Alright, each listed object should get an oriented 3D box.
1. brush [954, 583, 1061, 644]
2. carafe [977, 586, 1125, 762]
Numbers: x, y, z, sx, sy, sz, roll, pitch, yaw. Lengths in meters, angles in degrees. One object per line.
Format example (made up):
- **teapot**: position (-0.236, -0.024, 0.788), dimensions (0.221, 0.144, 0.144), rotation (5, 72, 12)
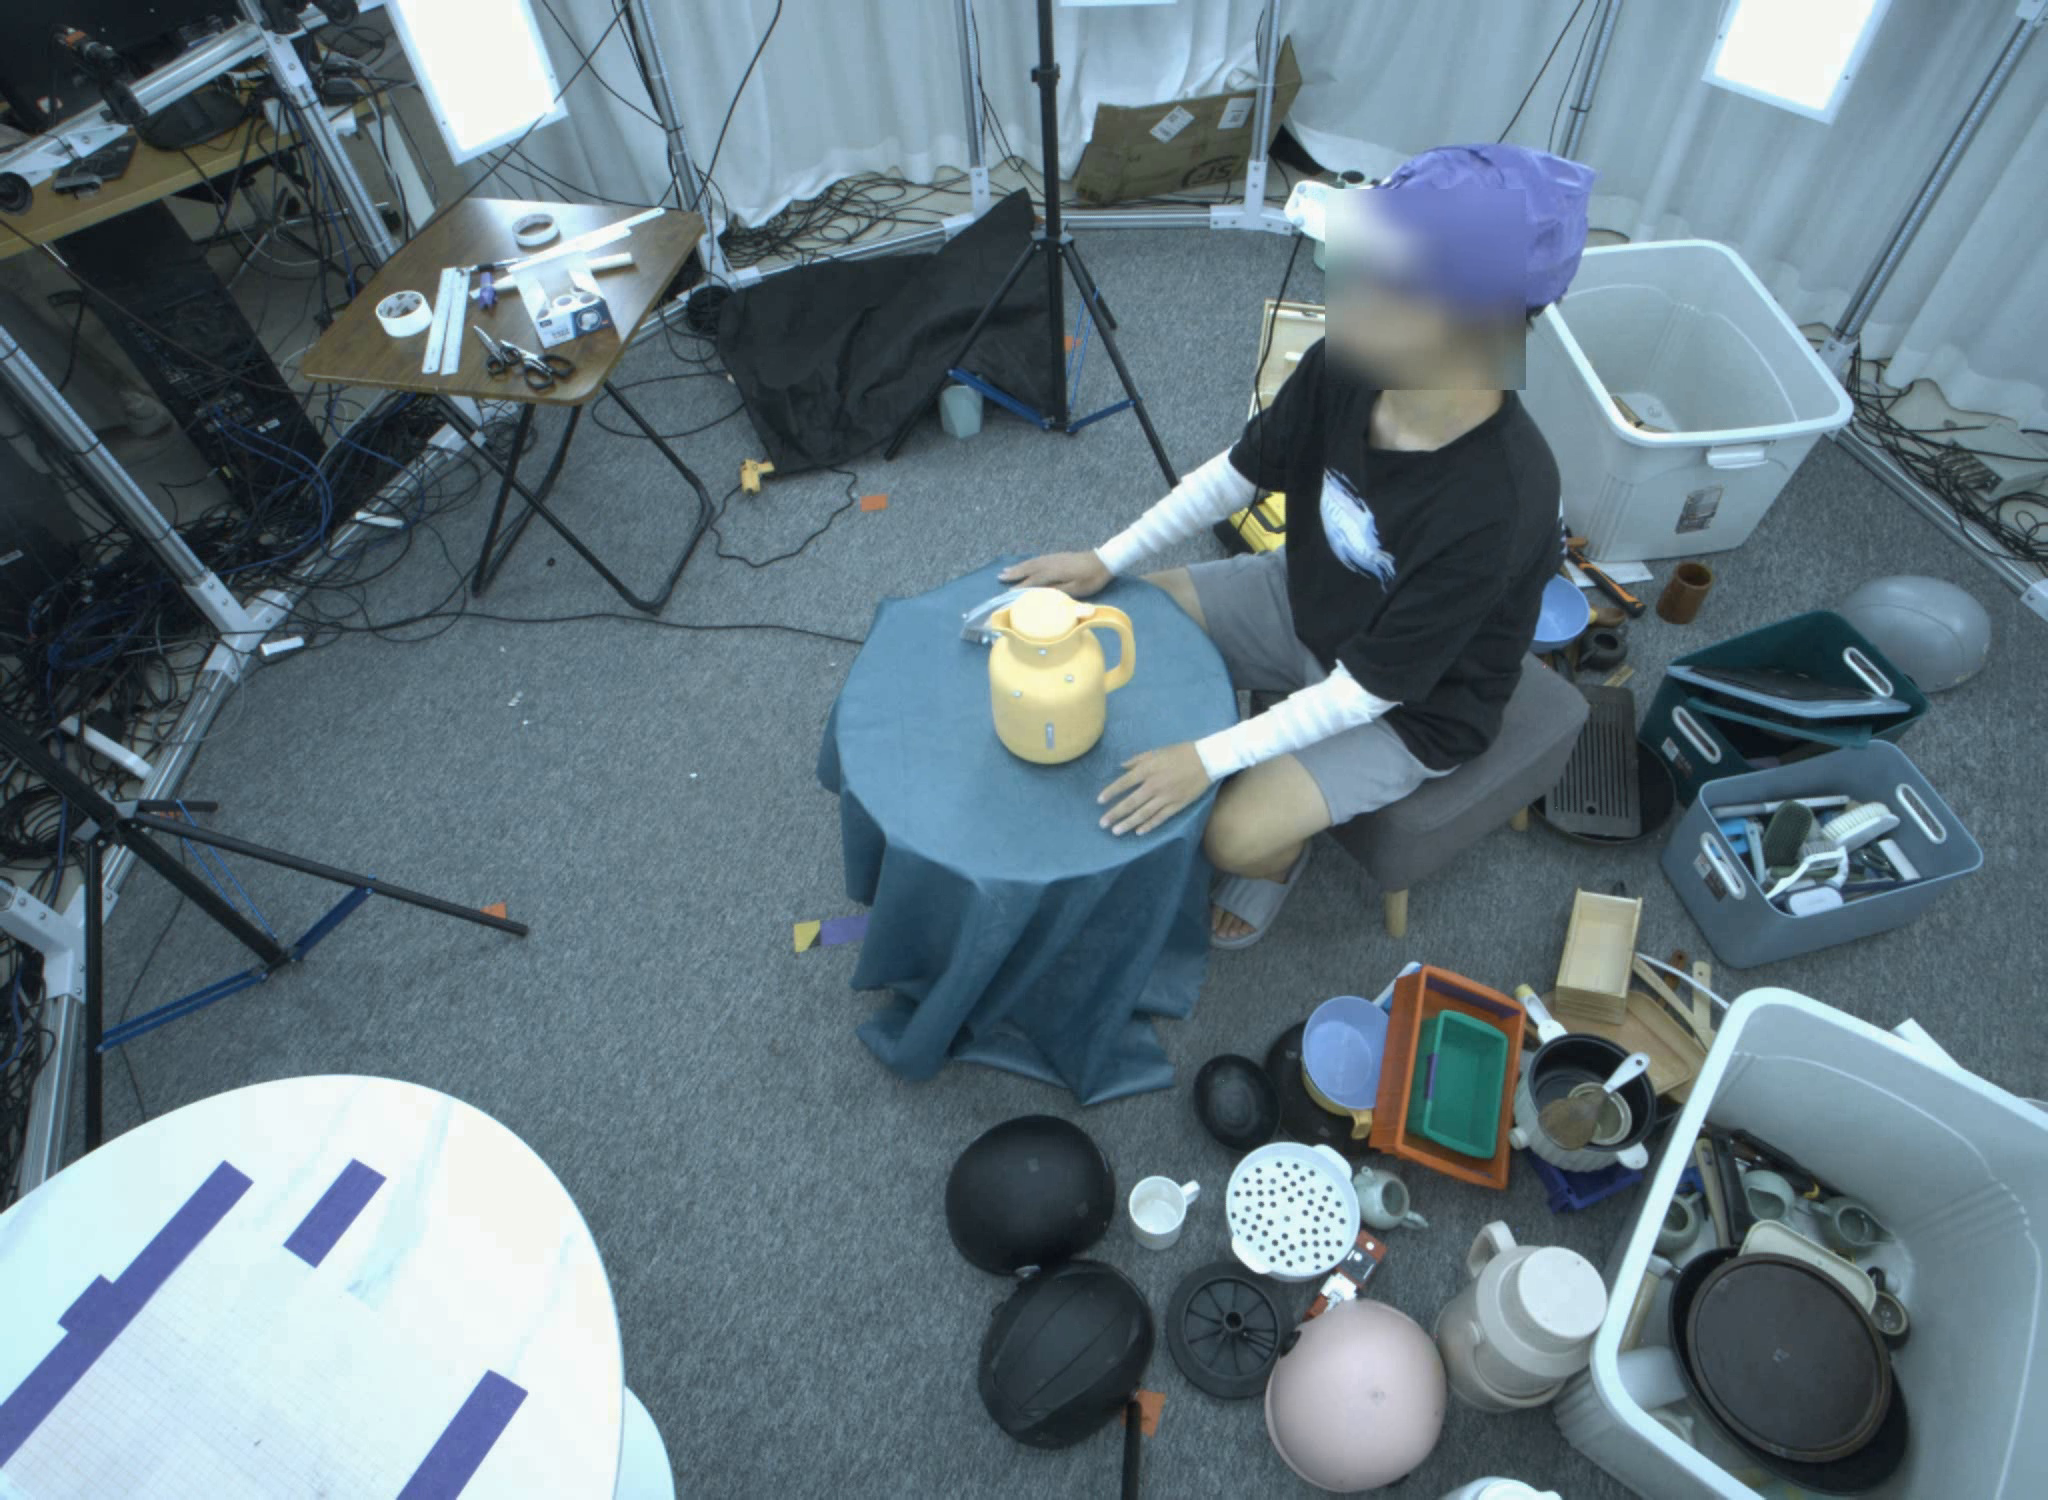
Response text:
- **brush**: position (-0.026, -0.209, 1.873), dimensions (0.176, 0.095, 0.060), rotation (-8, 53, -1)
- **carafe**: position (0.039, -0.110, 1.695), dimensions (0.202, 0.263, 0.161), rotation (-4, 56, 2)
